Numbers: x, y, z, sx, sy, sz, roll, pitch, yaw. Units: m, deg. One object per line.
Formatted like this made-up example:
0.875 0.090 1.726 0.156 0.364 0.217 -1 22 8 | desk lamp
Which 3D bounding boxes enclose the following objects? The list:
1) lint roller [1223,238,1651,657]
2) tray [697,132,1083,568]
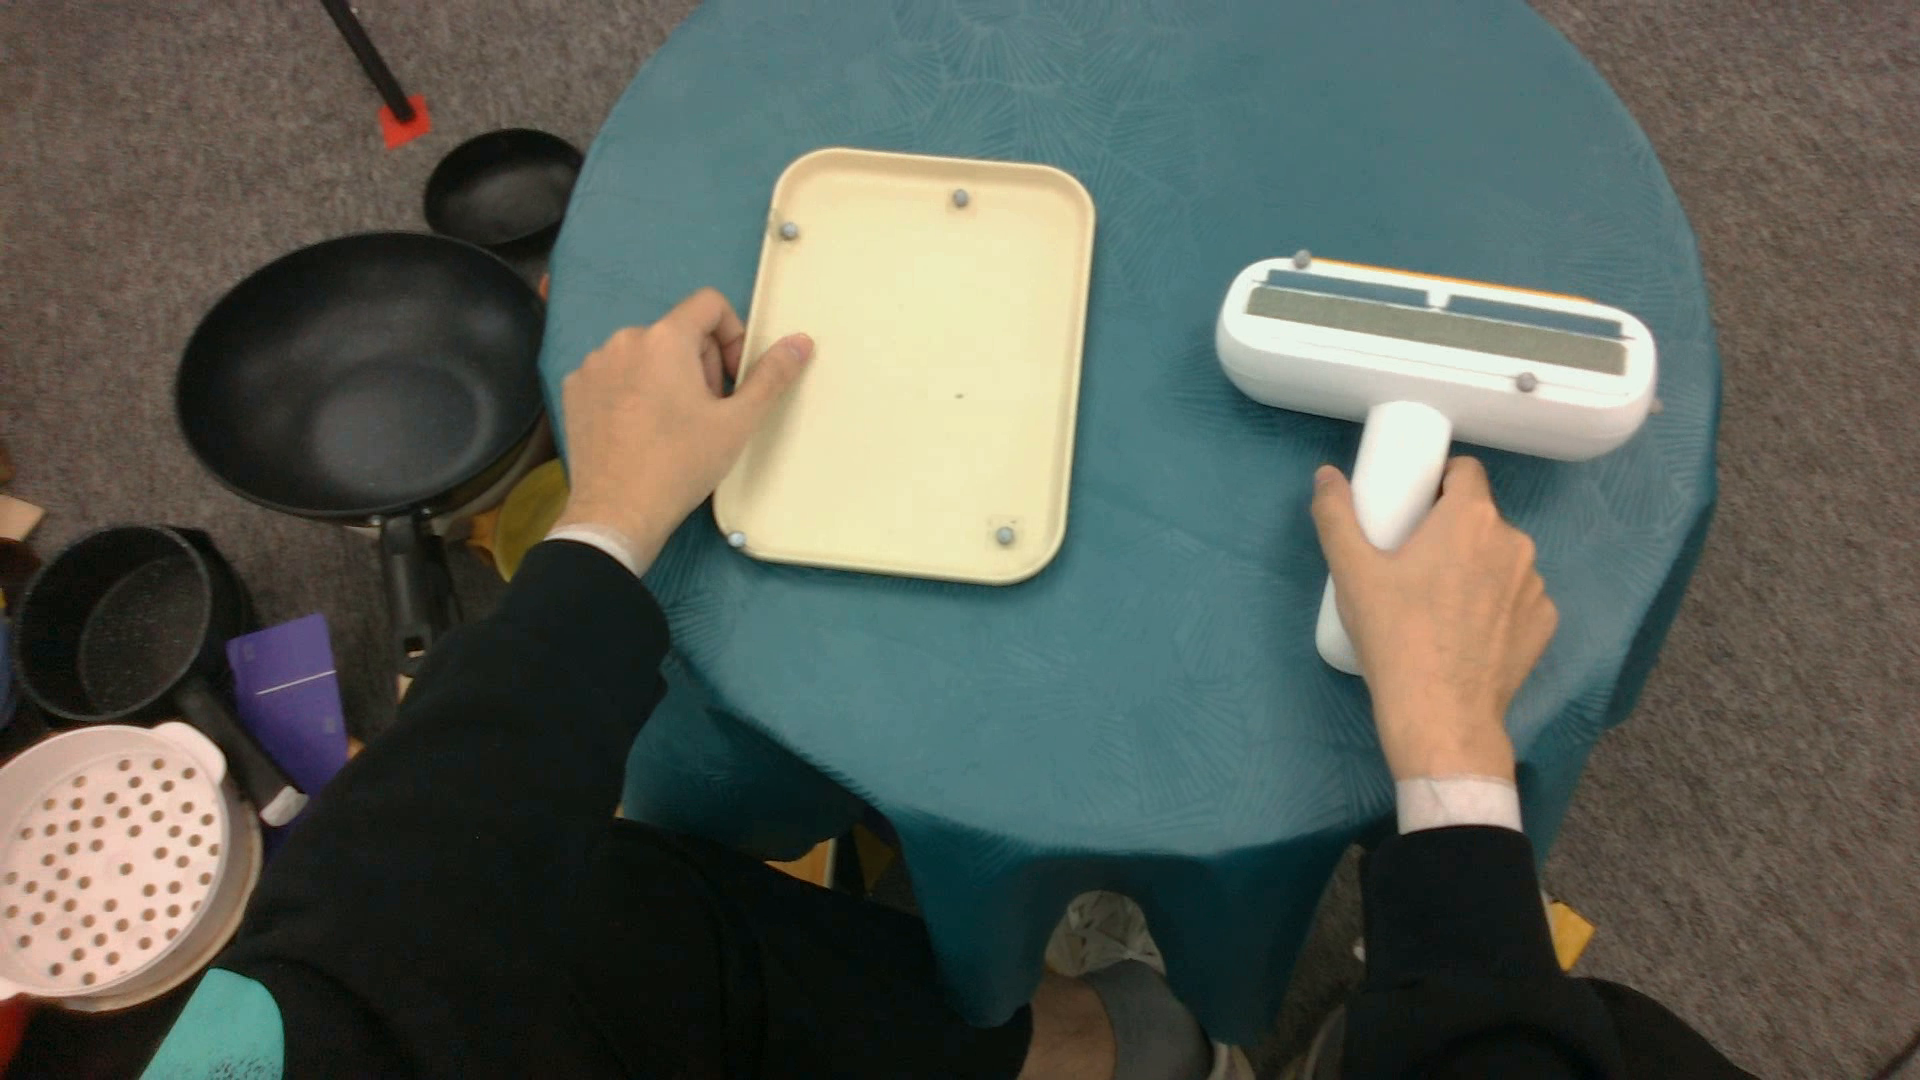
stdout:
0.197 -0.040 0.634 0.193 0.074 0.193 19 70 15 | lint roller
-0.031 -0.100 0.692 0.171 0.017 0.240 6 67 3 | tray
